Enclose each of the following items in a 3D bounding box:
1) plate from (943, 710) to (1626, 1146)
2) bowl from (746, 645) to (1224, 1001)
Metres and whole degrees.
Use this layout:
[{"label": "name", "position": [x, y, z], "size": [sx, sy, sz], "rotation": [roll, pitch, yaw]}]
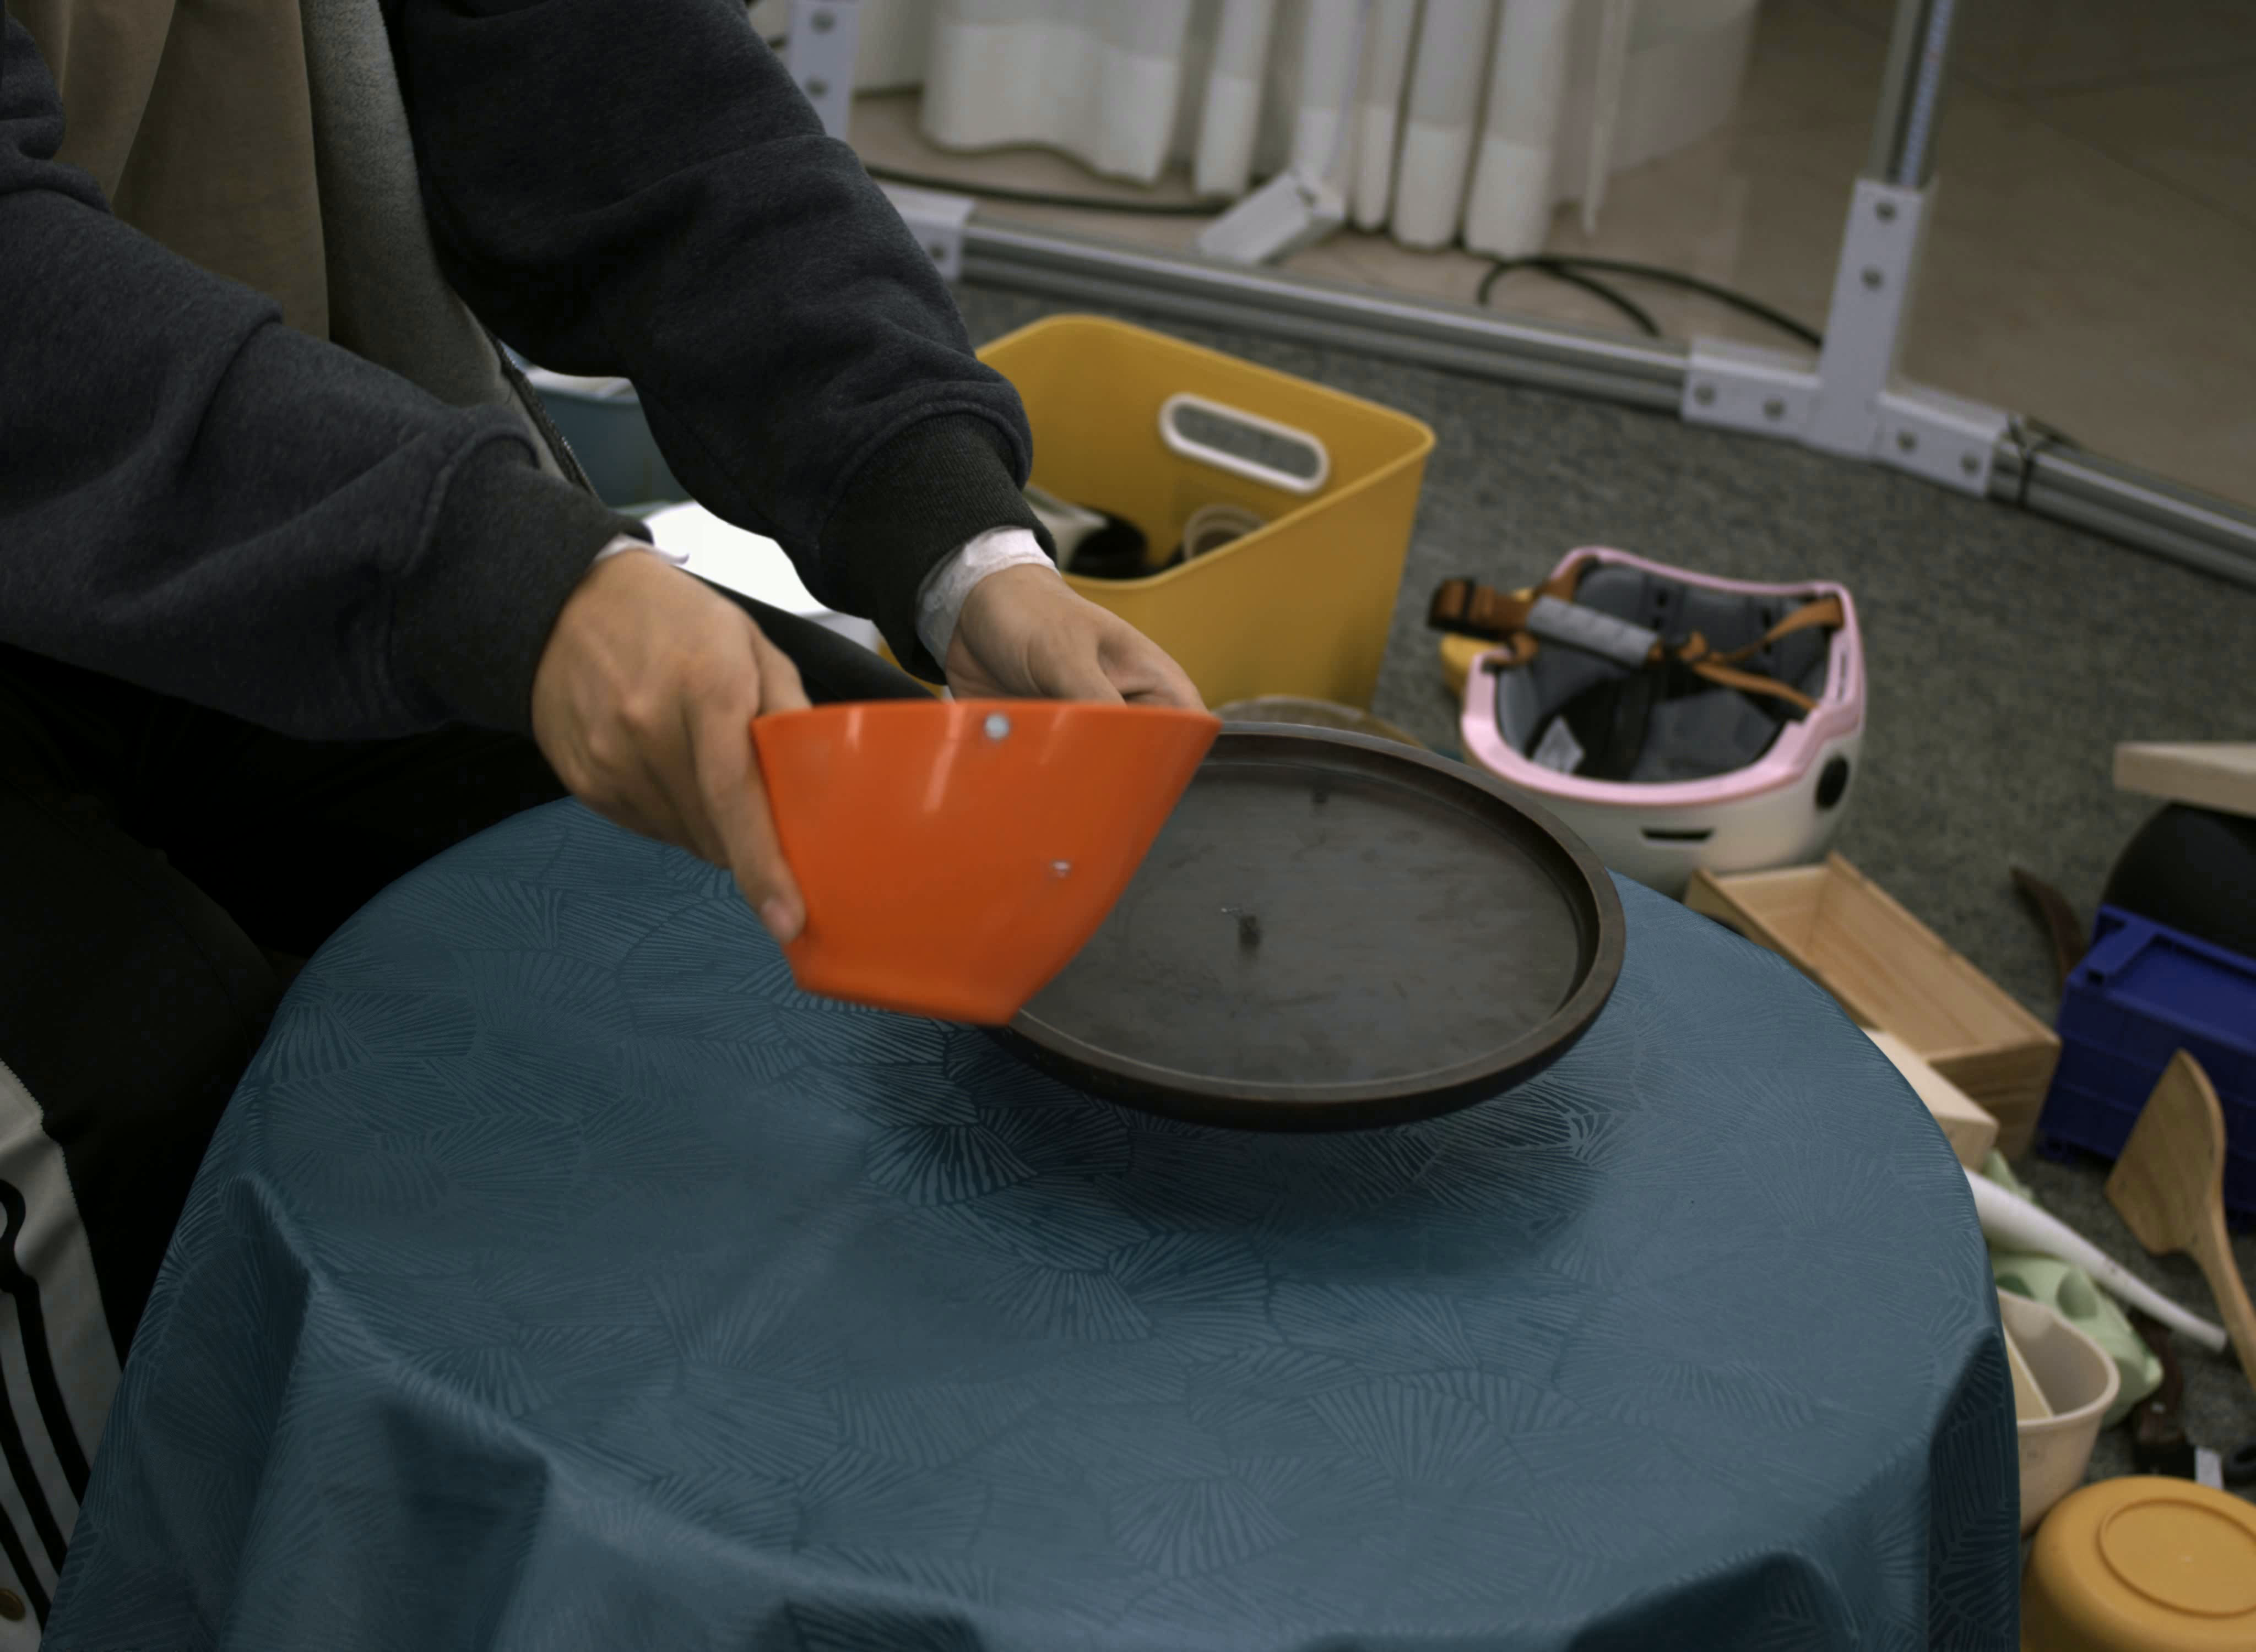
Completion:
[{"label": "plate", "position": [0.049, 0.036, 1.873], "size": [0.254, 0.029, 0.256], "rotation": [2, 32, -1]}, {"label": "bowl", "position": [-0.053, -0.002, 1.661], "size": [0.147, 0.104, 0.148], "rotation": [12, 12, -3]}]
